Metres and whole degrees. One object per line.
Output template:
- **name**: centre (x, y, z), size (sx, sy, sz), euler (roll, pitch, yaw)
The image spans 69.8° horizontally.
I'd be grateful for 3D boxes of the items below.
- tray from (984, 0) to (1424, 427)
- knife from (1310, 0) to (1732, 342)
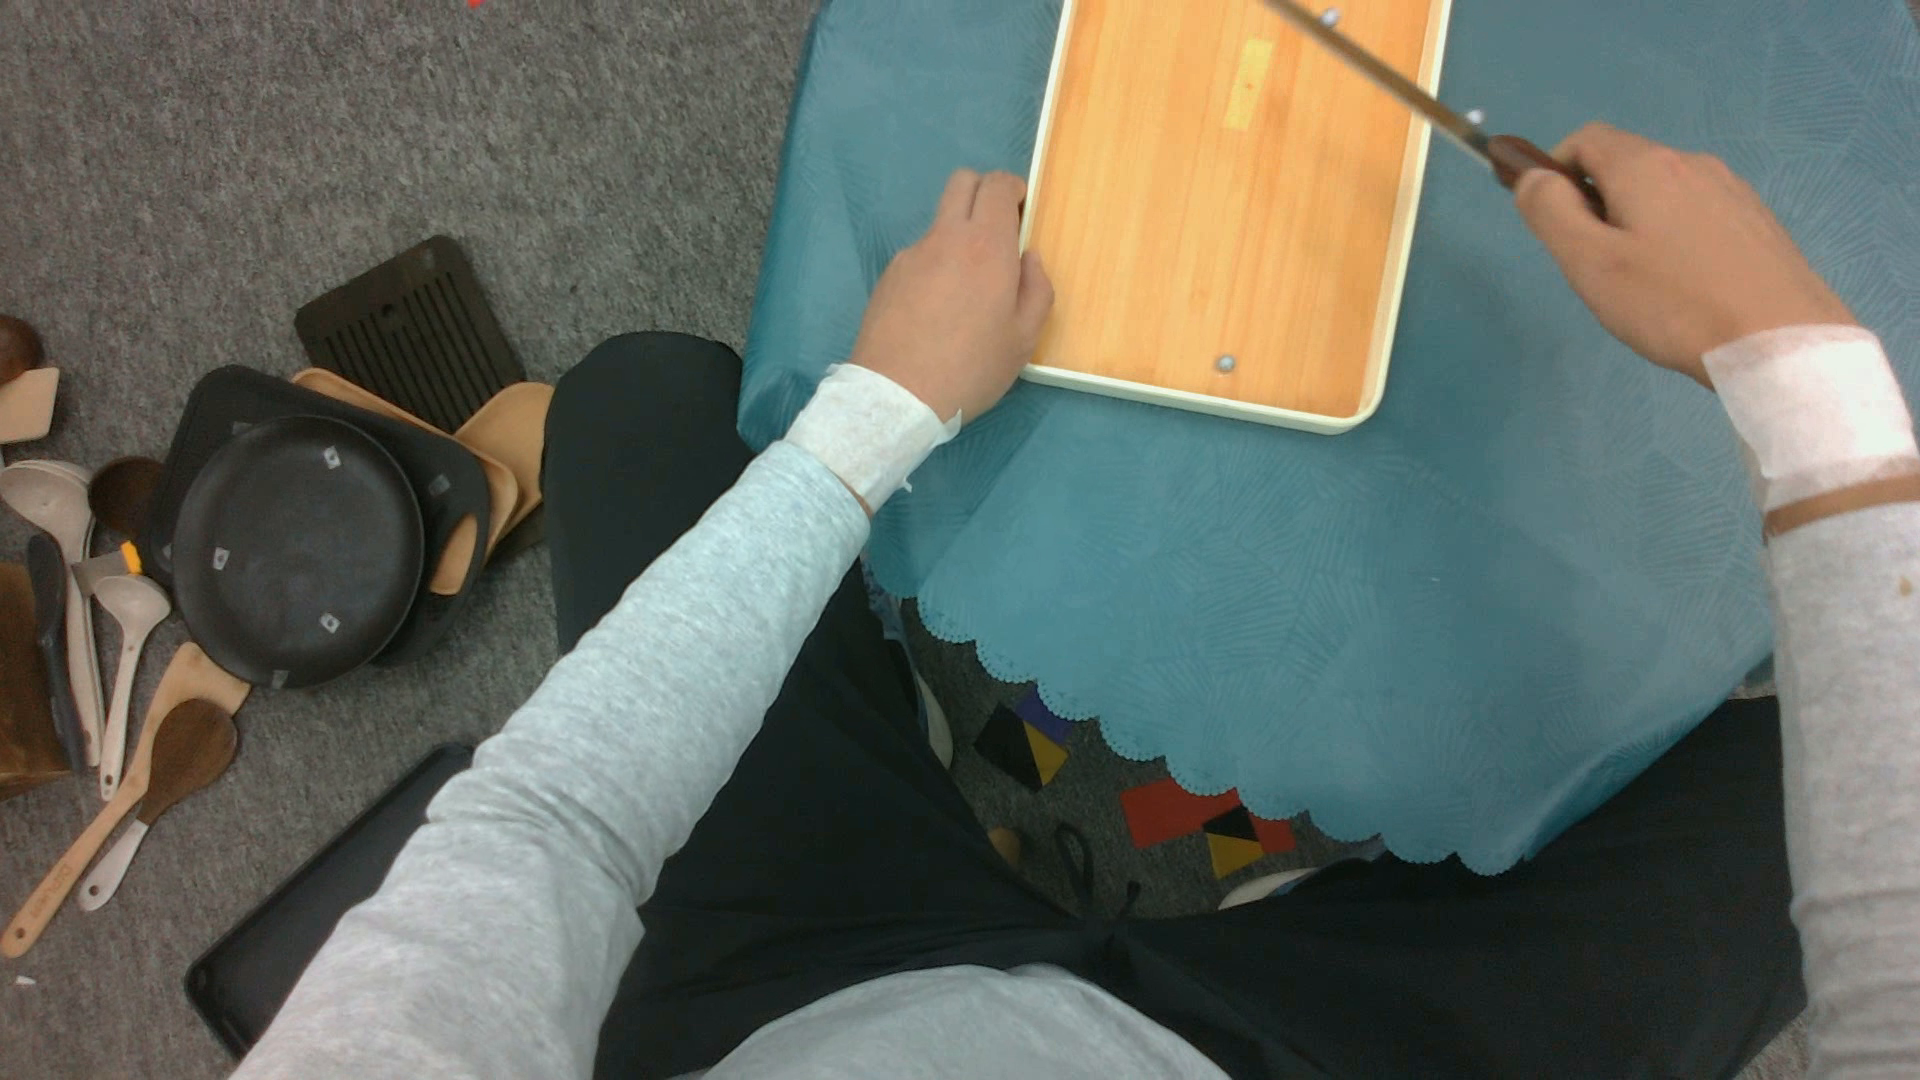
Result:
- **tray**: centre (0.130, -0.217, 0.709), size (0.191, 0.027, 0.300), euler (10, 82, 4)
- **knife**: centre (0.221, -0.189, 0.610), size (0.020, 0.050, 0.289), euler (-46, 74, 14)
